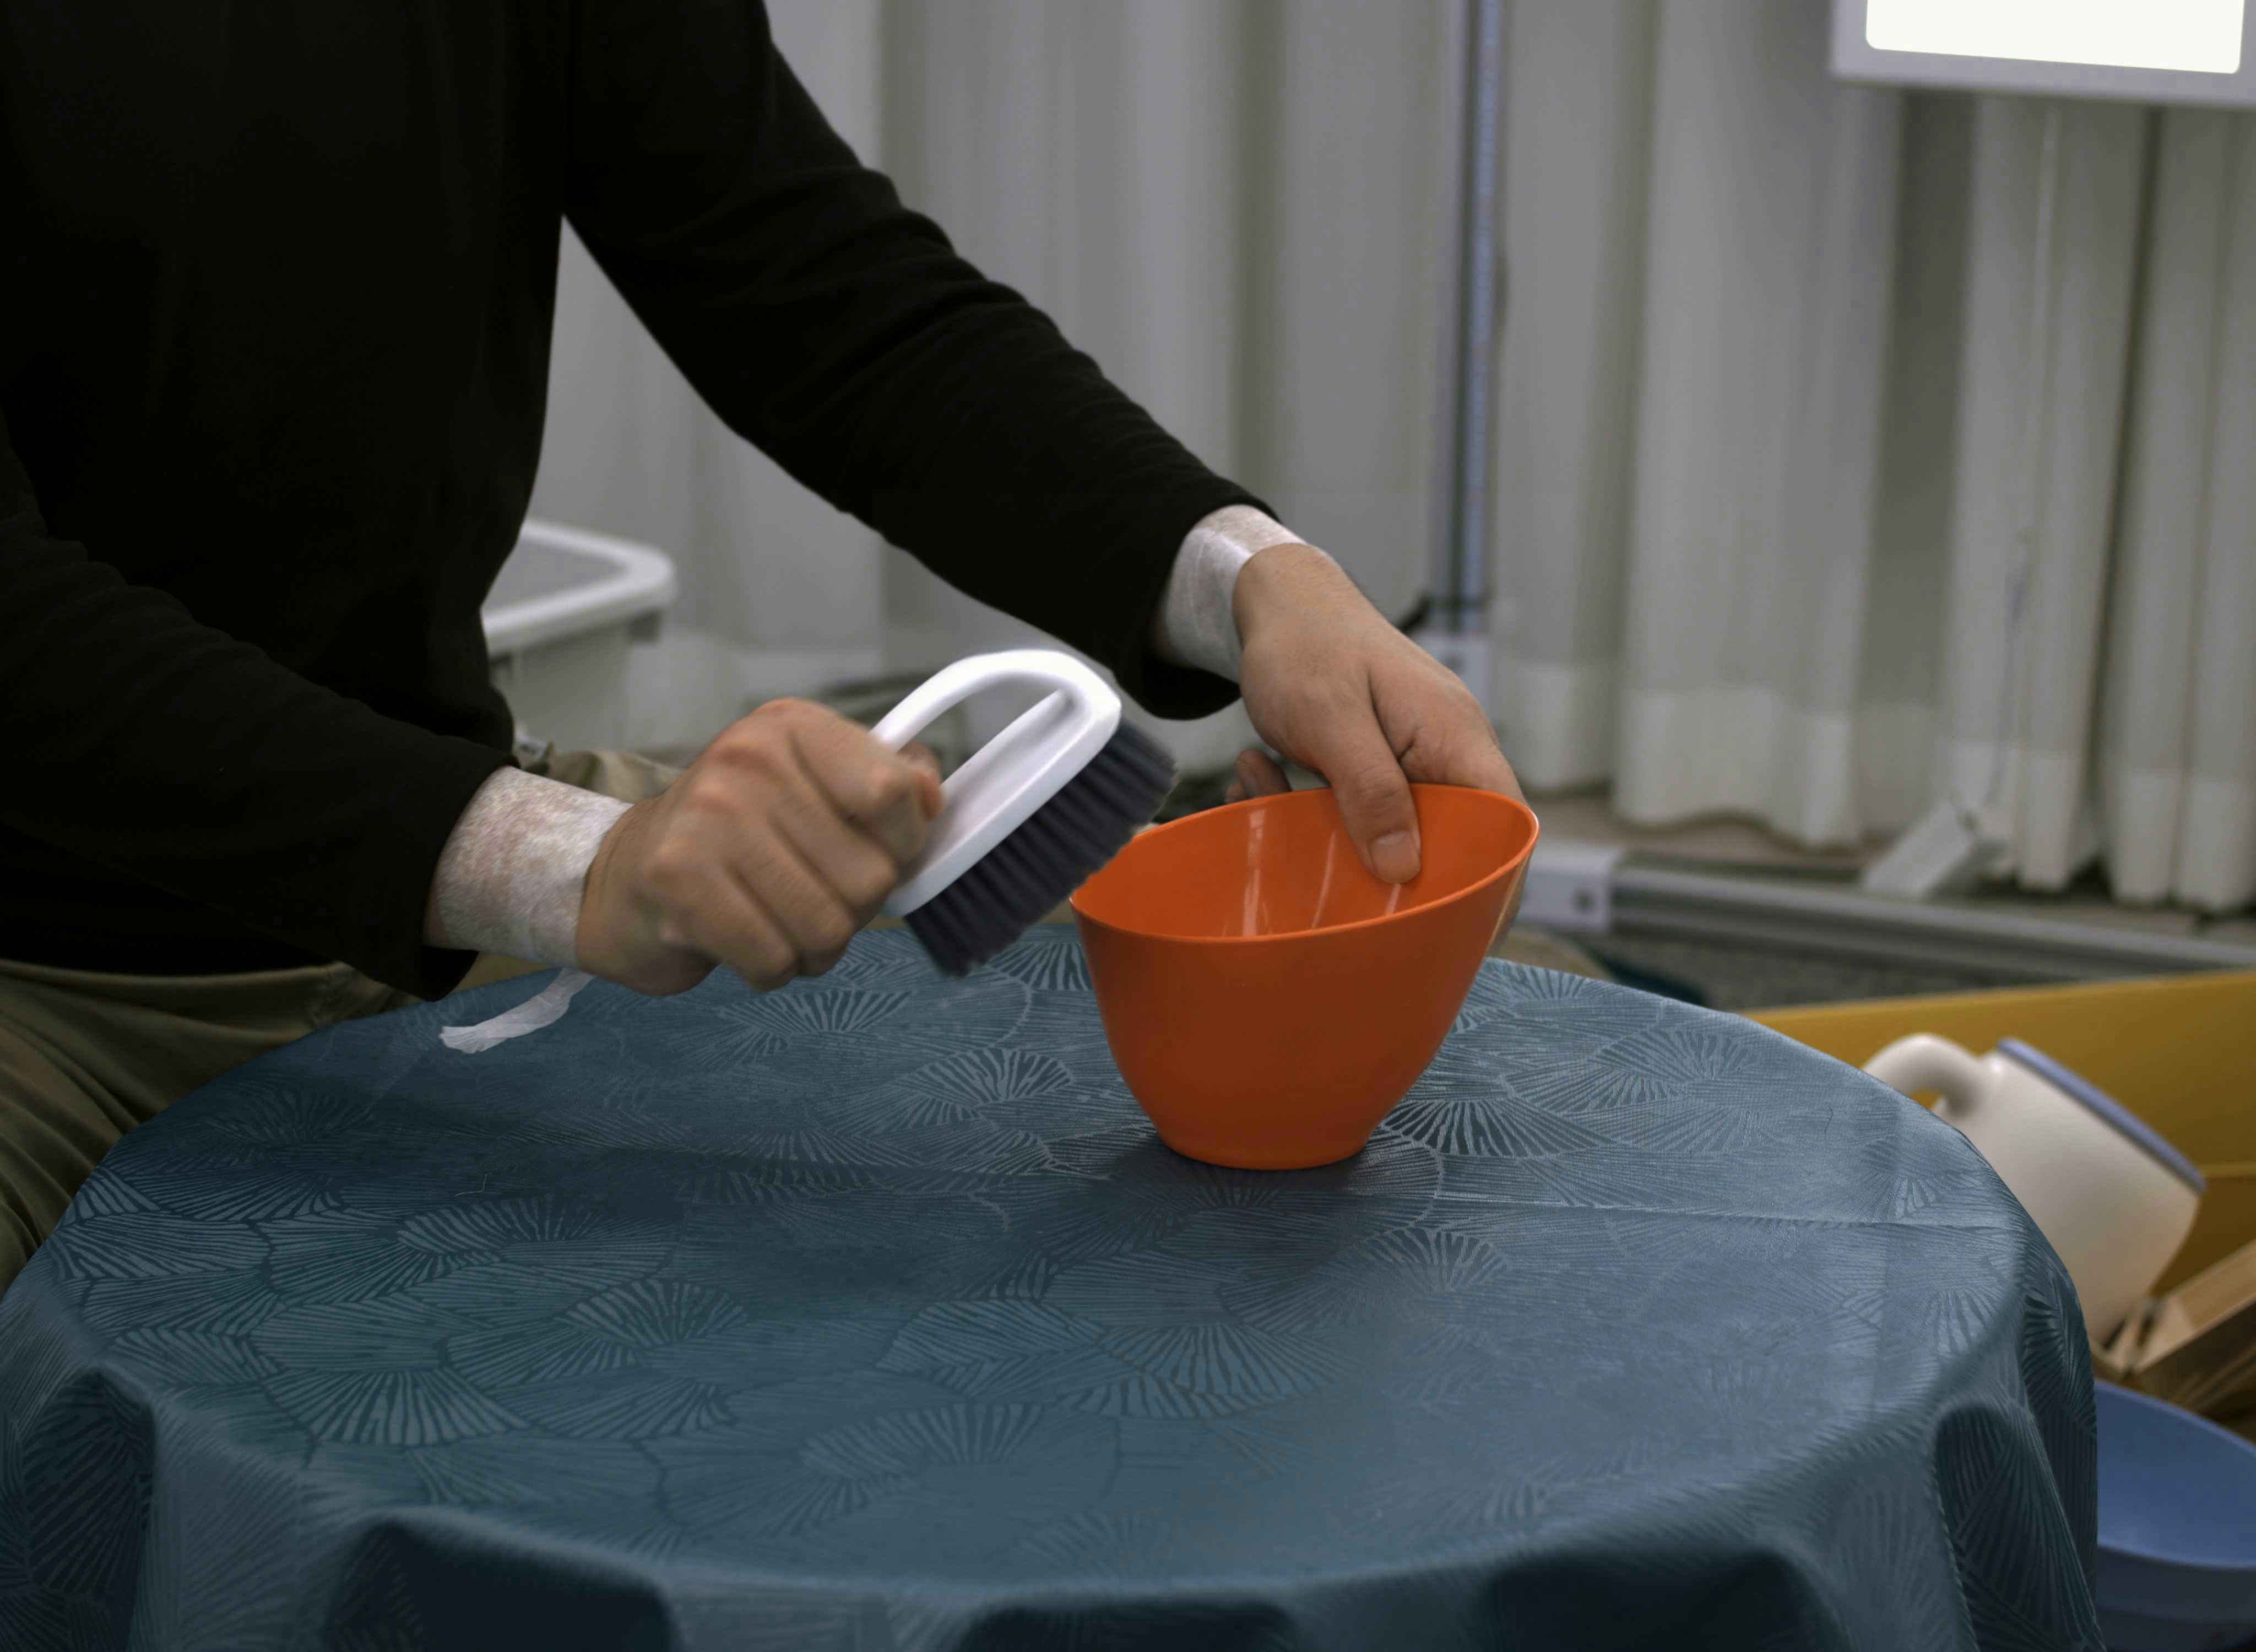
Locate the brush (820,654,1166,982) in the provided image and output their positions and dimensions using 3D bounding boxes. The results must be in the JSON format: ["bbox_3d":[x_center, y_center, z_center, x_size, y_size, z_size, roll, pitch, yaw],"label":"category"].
[{"bbox_3d":[-0.048,-0.009,1.573,0.099,0.073,0.050,-40,25,14],"label":"brush"}]

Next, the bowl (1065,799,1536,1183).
[{"bbox_3d":[0.054,0.053,1.655,0.147,0.105,0.147,0,15,0],"label":"bowl"}]
